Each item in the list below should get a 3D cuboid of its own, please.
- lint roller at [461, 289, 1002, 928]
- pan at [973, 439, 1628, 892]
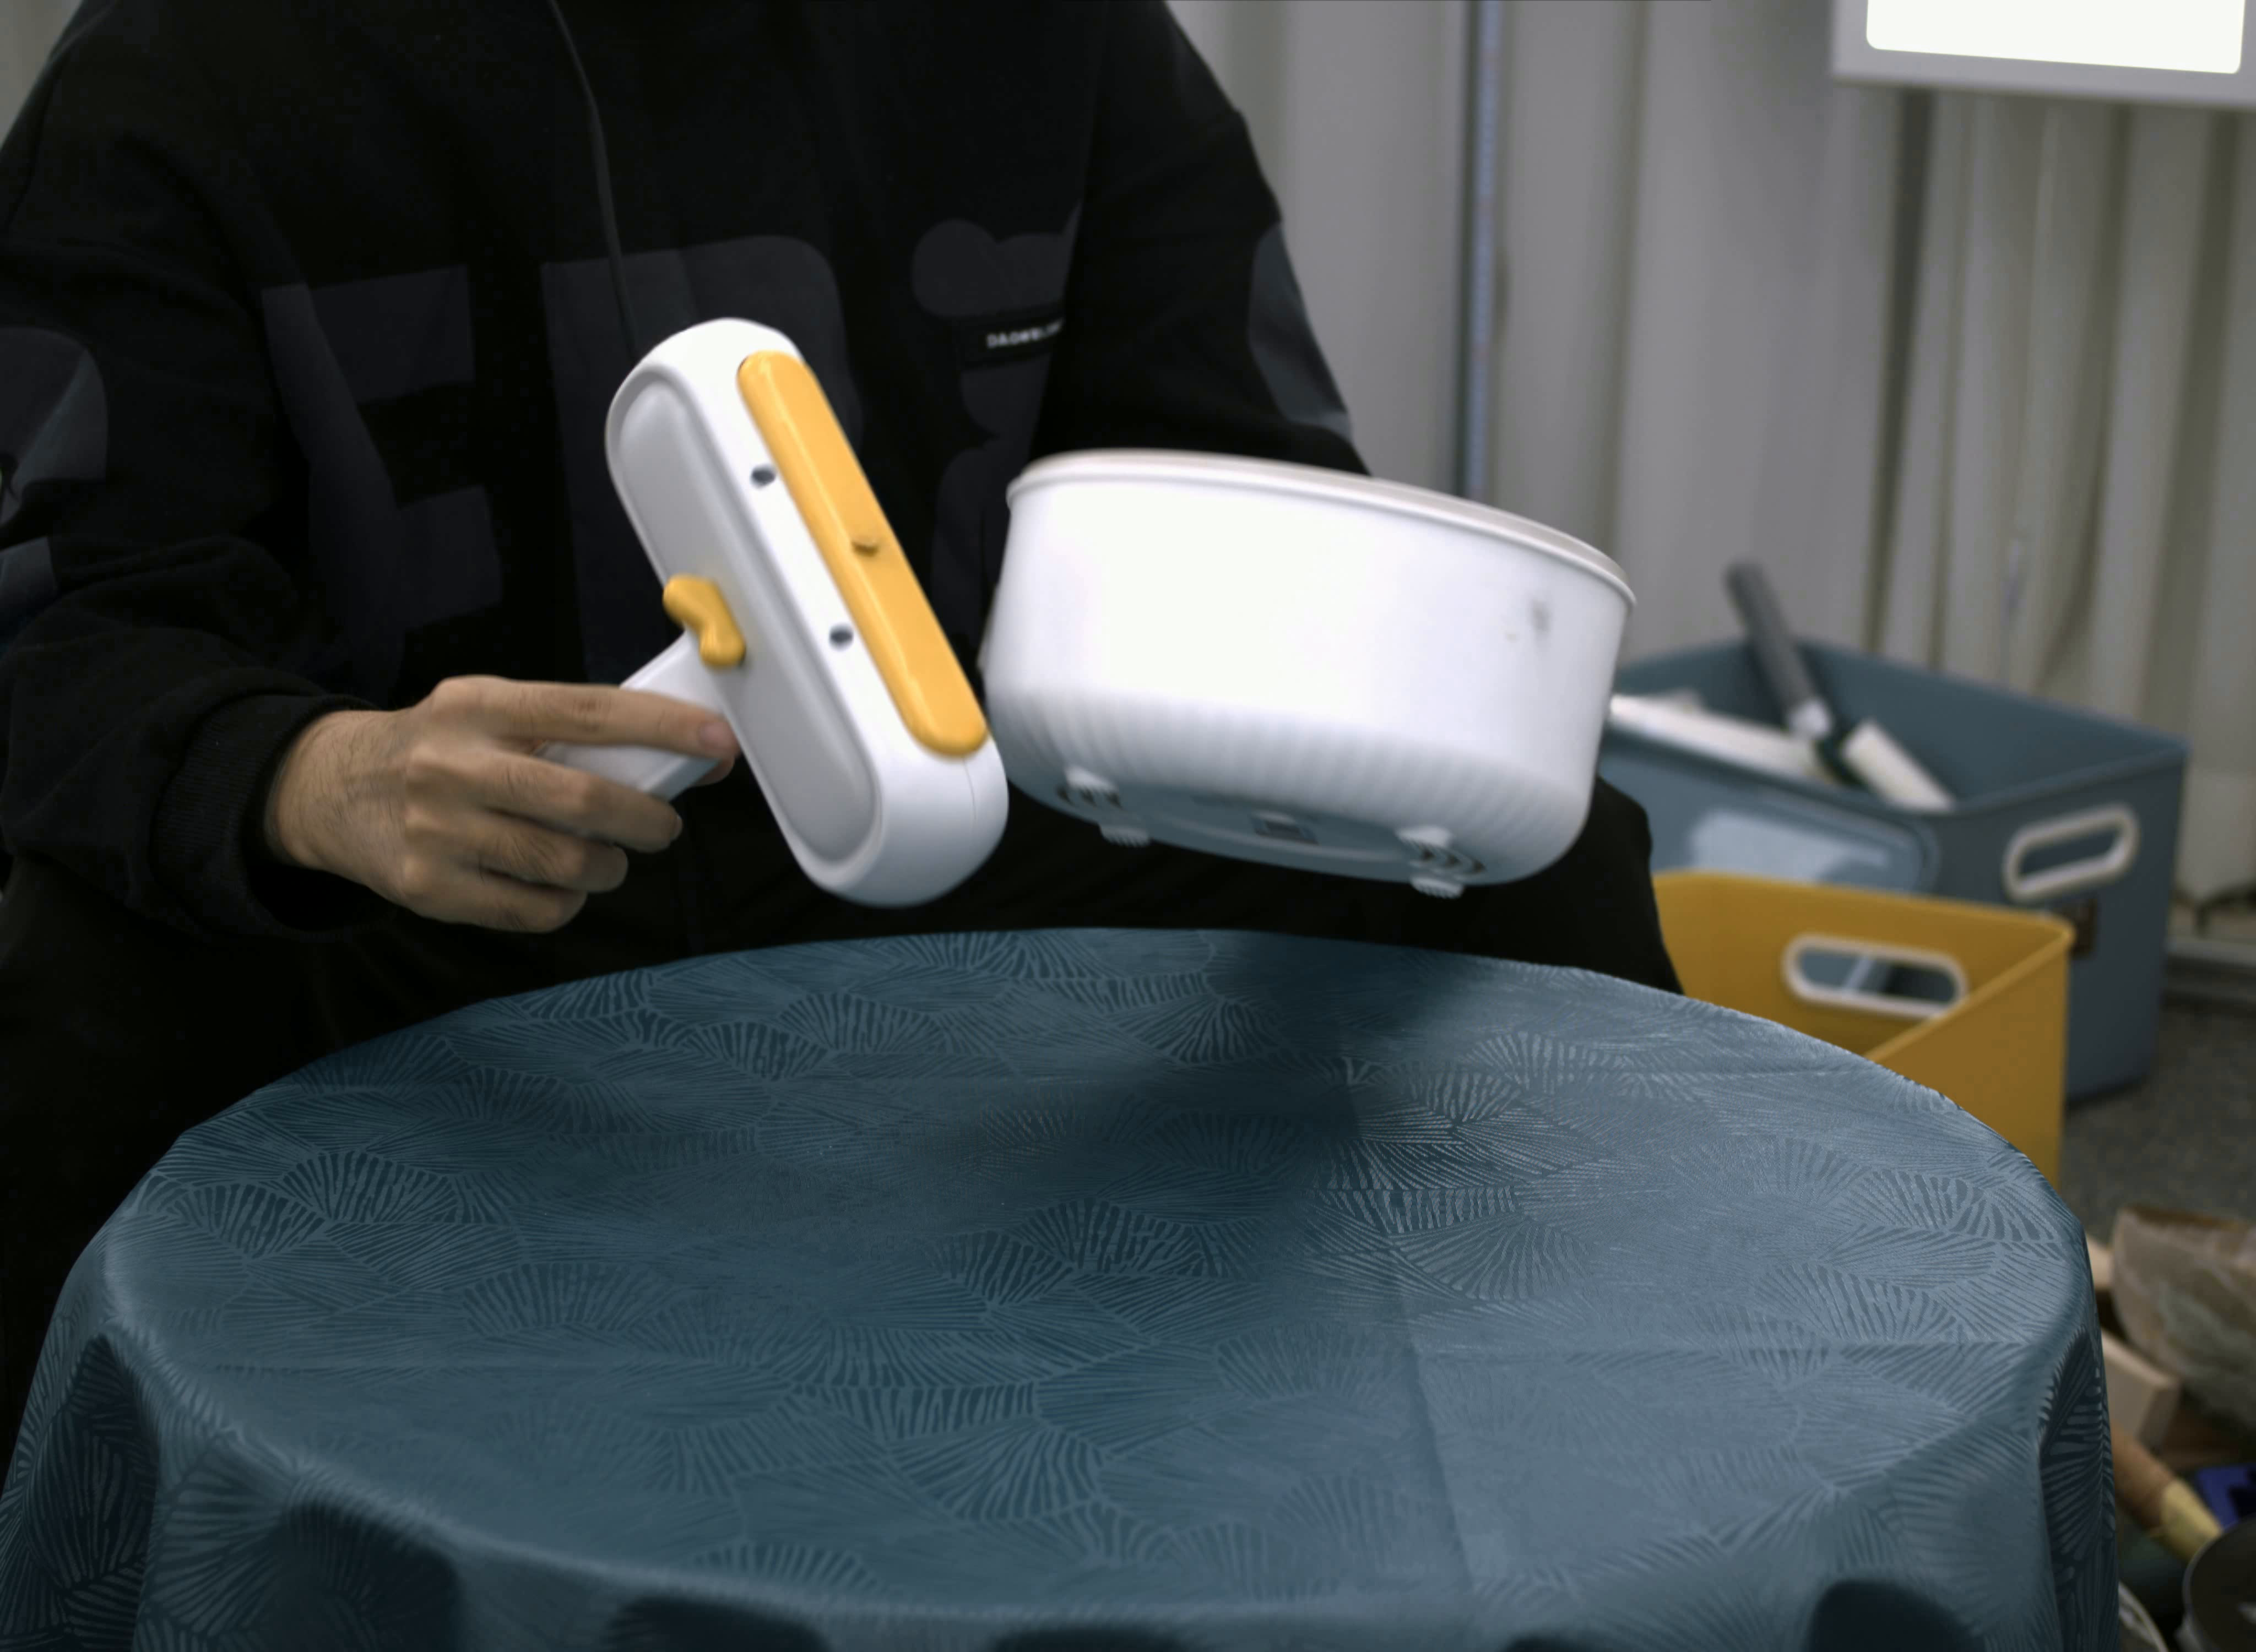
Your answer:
[{"bbox_3d":[-0.137,-0.039,1.617,0.074,0.192,0.191,-13,63,-48],"label":"lint roller"},{"bbox_3d":[0.059,-0.033,1.728,0.200,0.102,0.356,9,-9,7],"label":"pan"}]
